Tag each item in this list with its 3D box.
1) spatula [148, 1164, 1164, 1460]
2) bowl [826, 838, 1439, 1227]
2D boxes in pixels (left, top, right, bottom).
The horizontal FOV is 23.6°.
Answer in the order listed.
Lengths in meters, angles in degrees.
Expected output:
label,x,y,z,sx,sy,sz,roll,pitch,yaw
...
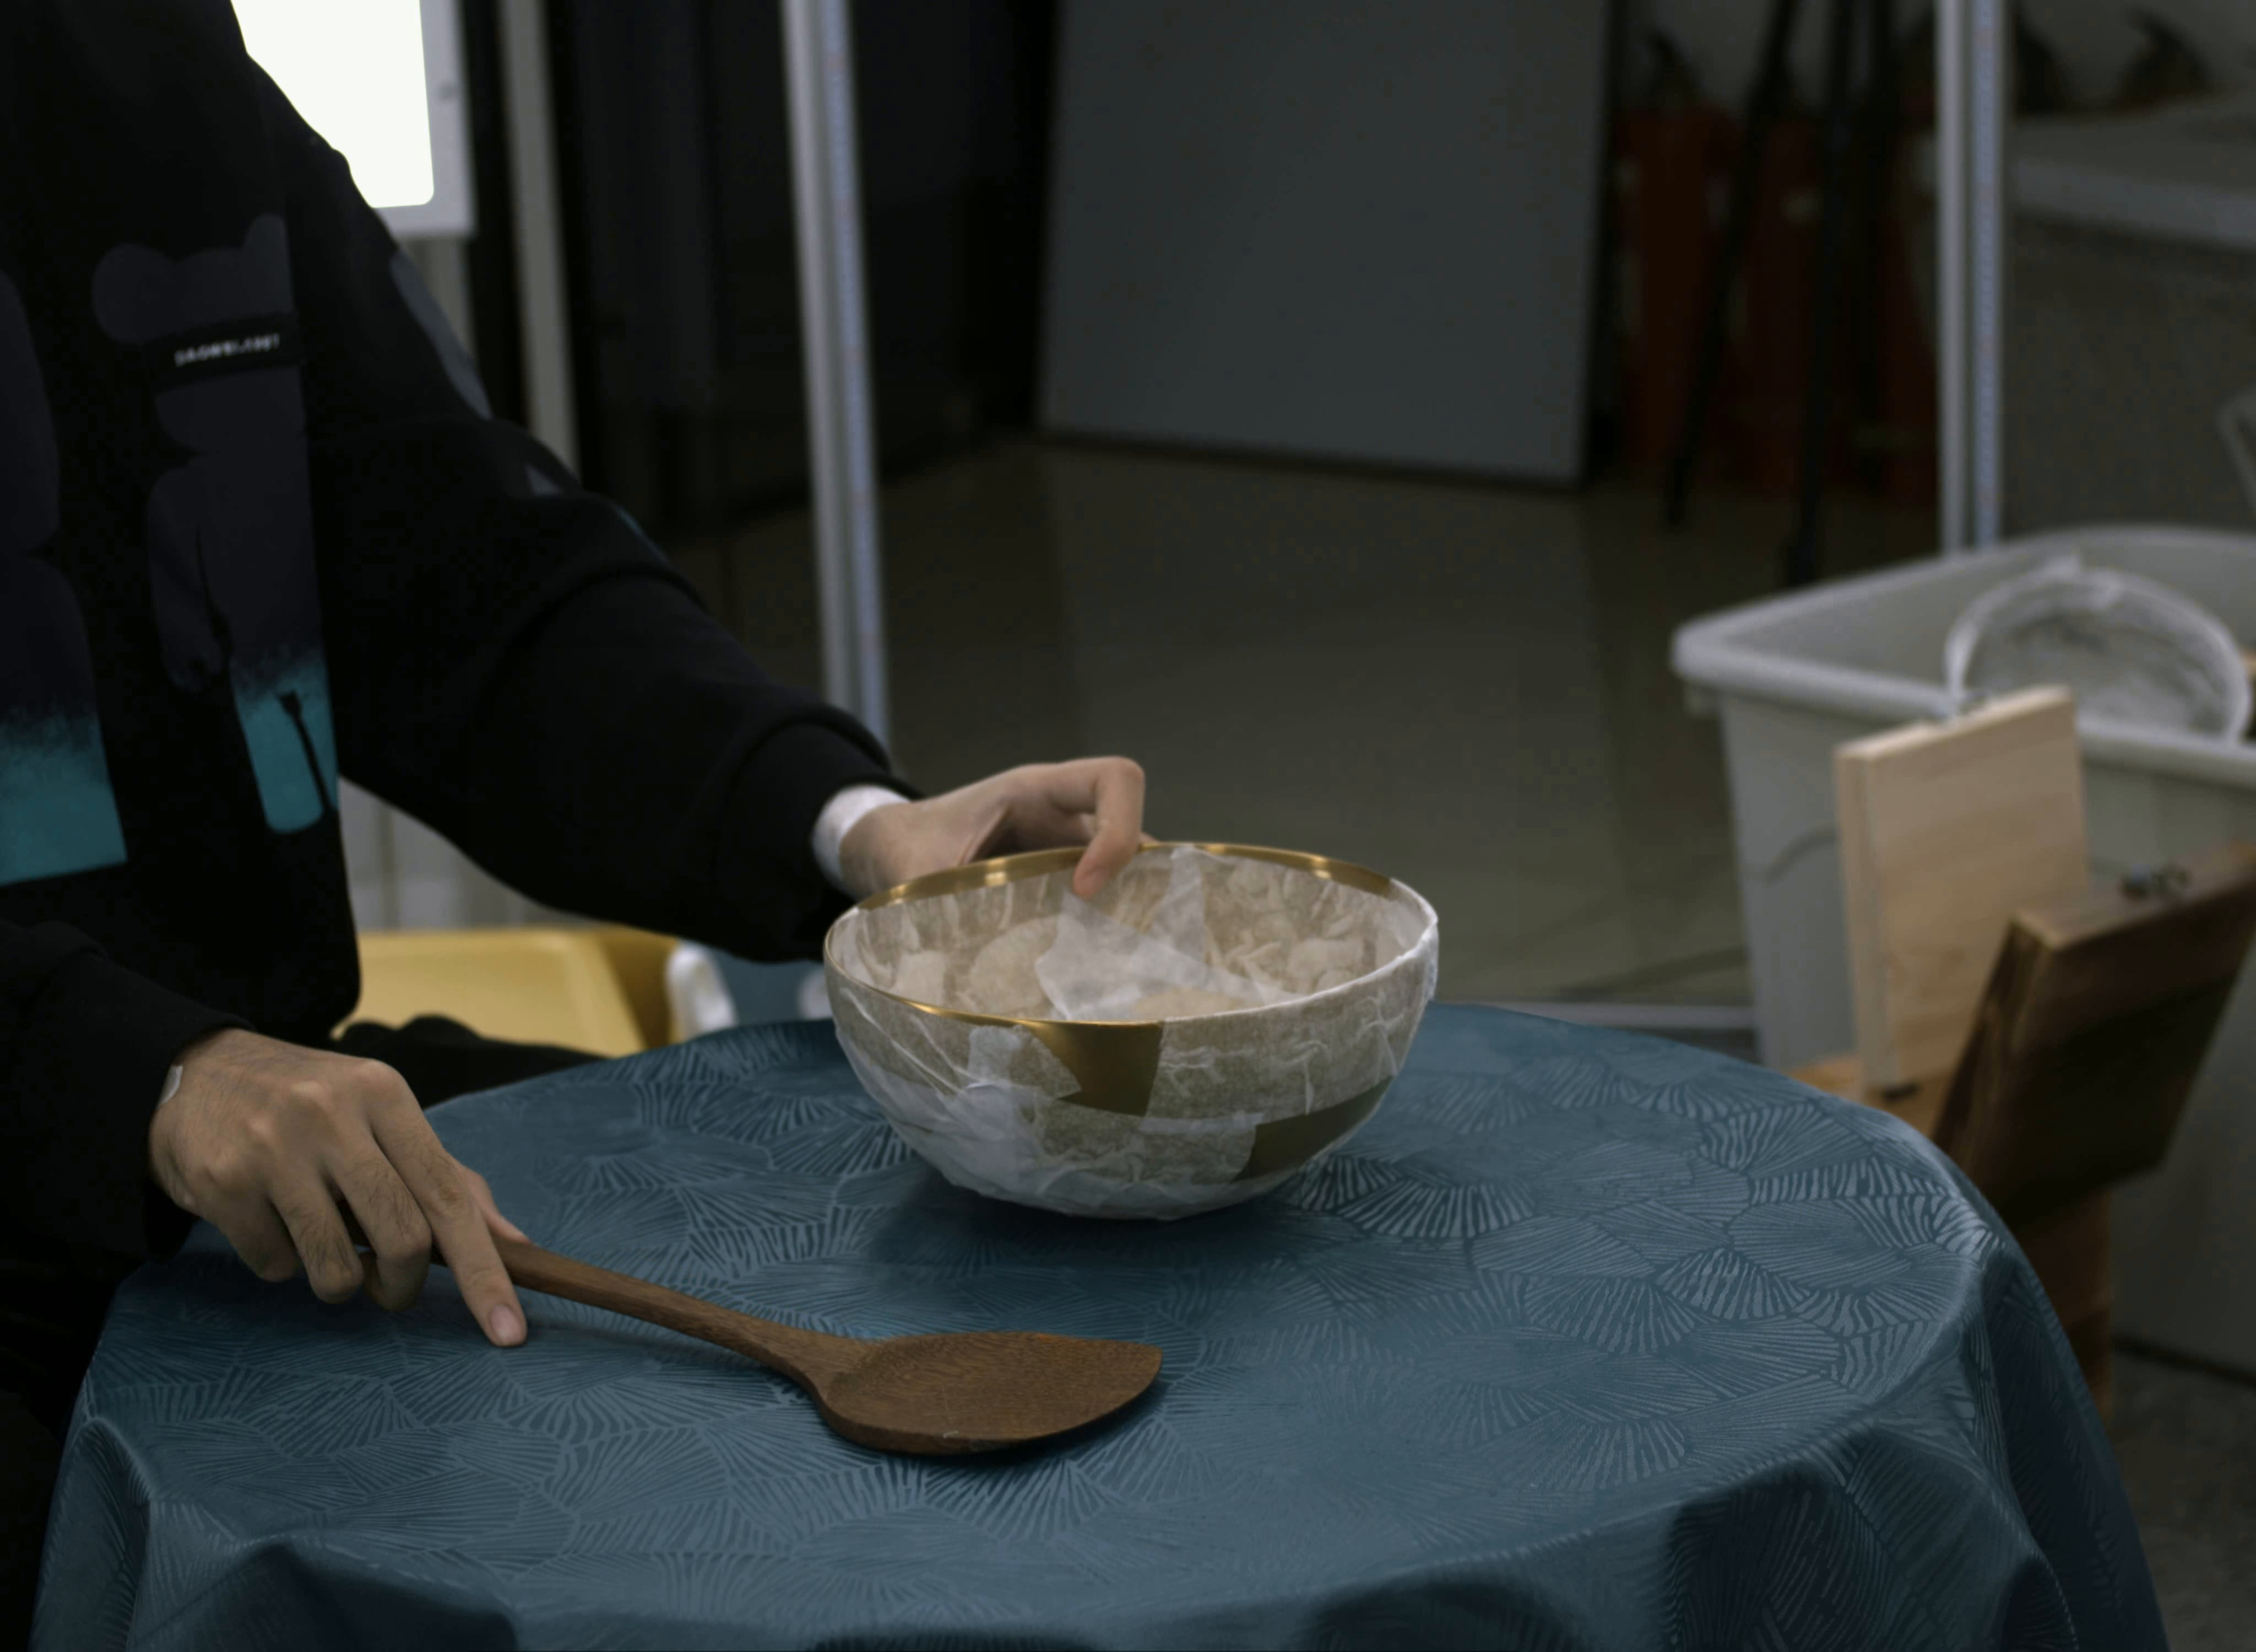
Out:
label,x,y,z,sx,sy,sz,roll,pitch,yaw
spatula,-0.161,0.144,1.663,0.388,0.016,0.094,11,19,35
bowl,0.002,0.075,1.763,0.212,0.095,0.215,-5,15,0
